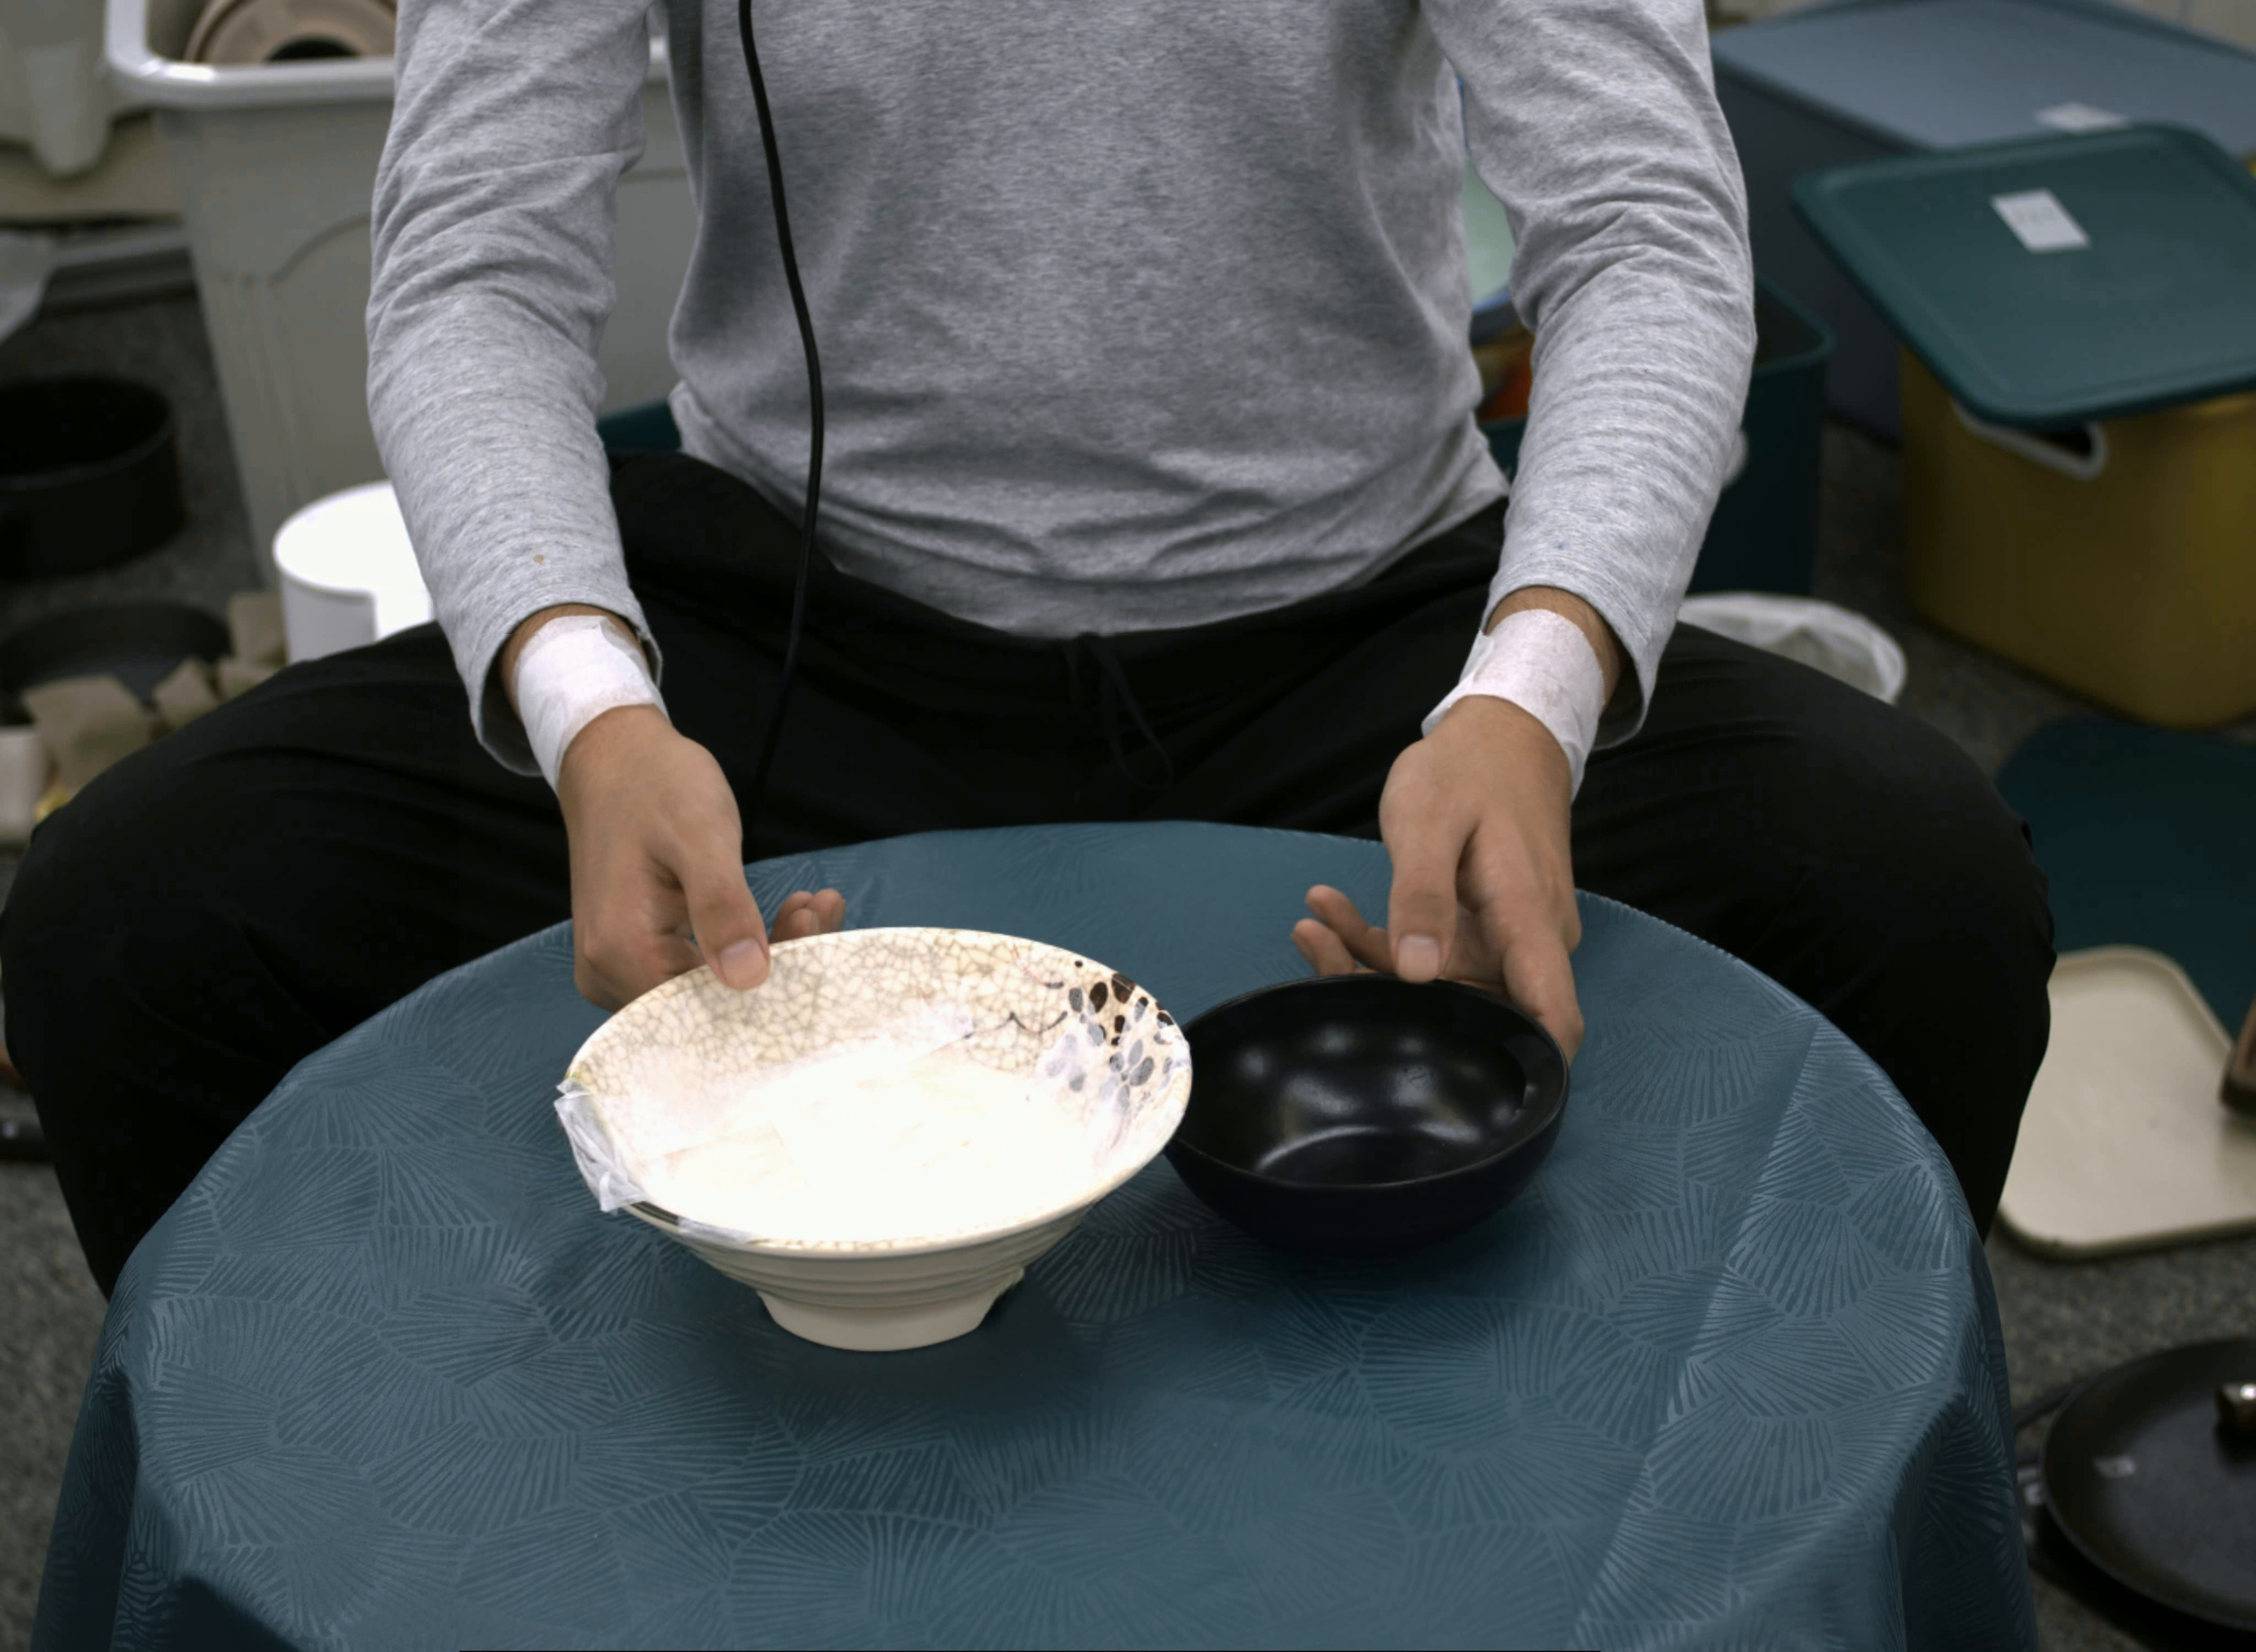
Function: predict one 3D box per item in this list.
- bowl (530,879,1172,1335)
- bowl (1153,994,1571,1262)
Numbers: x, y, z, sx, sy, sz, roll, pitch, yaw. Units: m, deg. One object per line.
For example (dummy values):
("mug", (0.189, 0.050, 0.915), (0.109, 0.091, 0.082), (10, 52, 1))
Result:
("bowl", (-0.087, 0.106, 1.794), (0.203, 0.077, 0.207), (0, 33, 0))
("bowl", (0.076, 0.105, 1.840), (0.139, 0.049, 0.142), (0, 22, 1))
